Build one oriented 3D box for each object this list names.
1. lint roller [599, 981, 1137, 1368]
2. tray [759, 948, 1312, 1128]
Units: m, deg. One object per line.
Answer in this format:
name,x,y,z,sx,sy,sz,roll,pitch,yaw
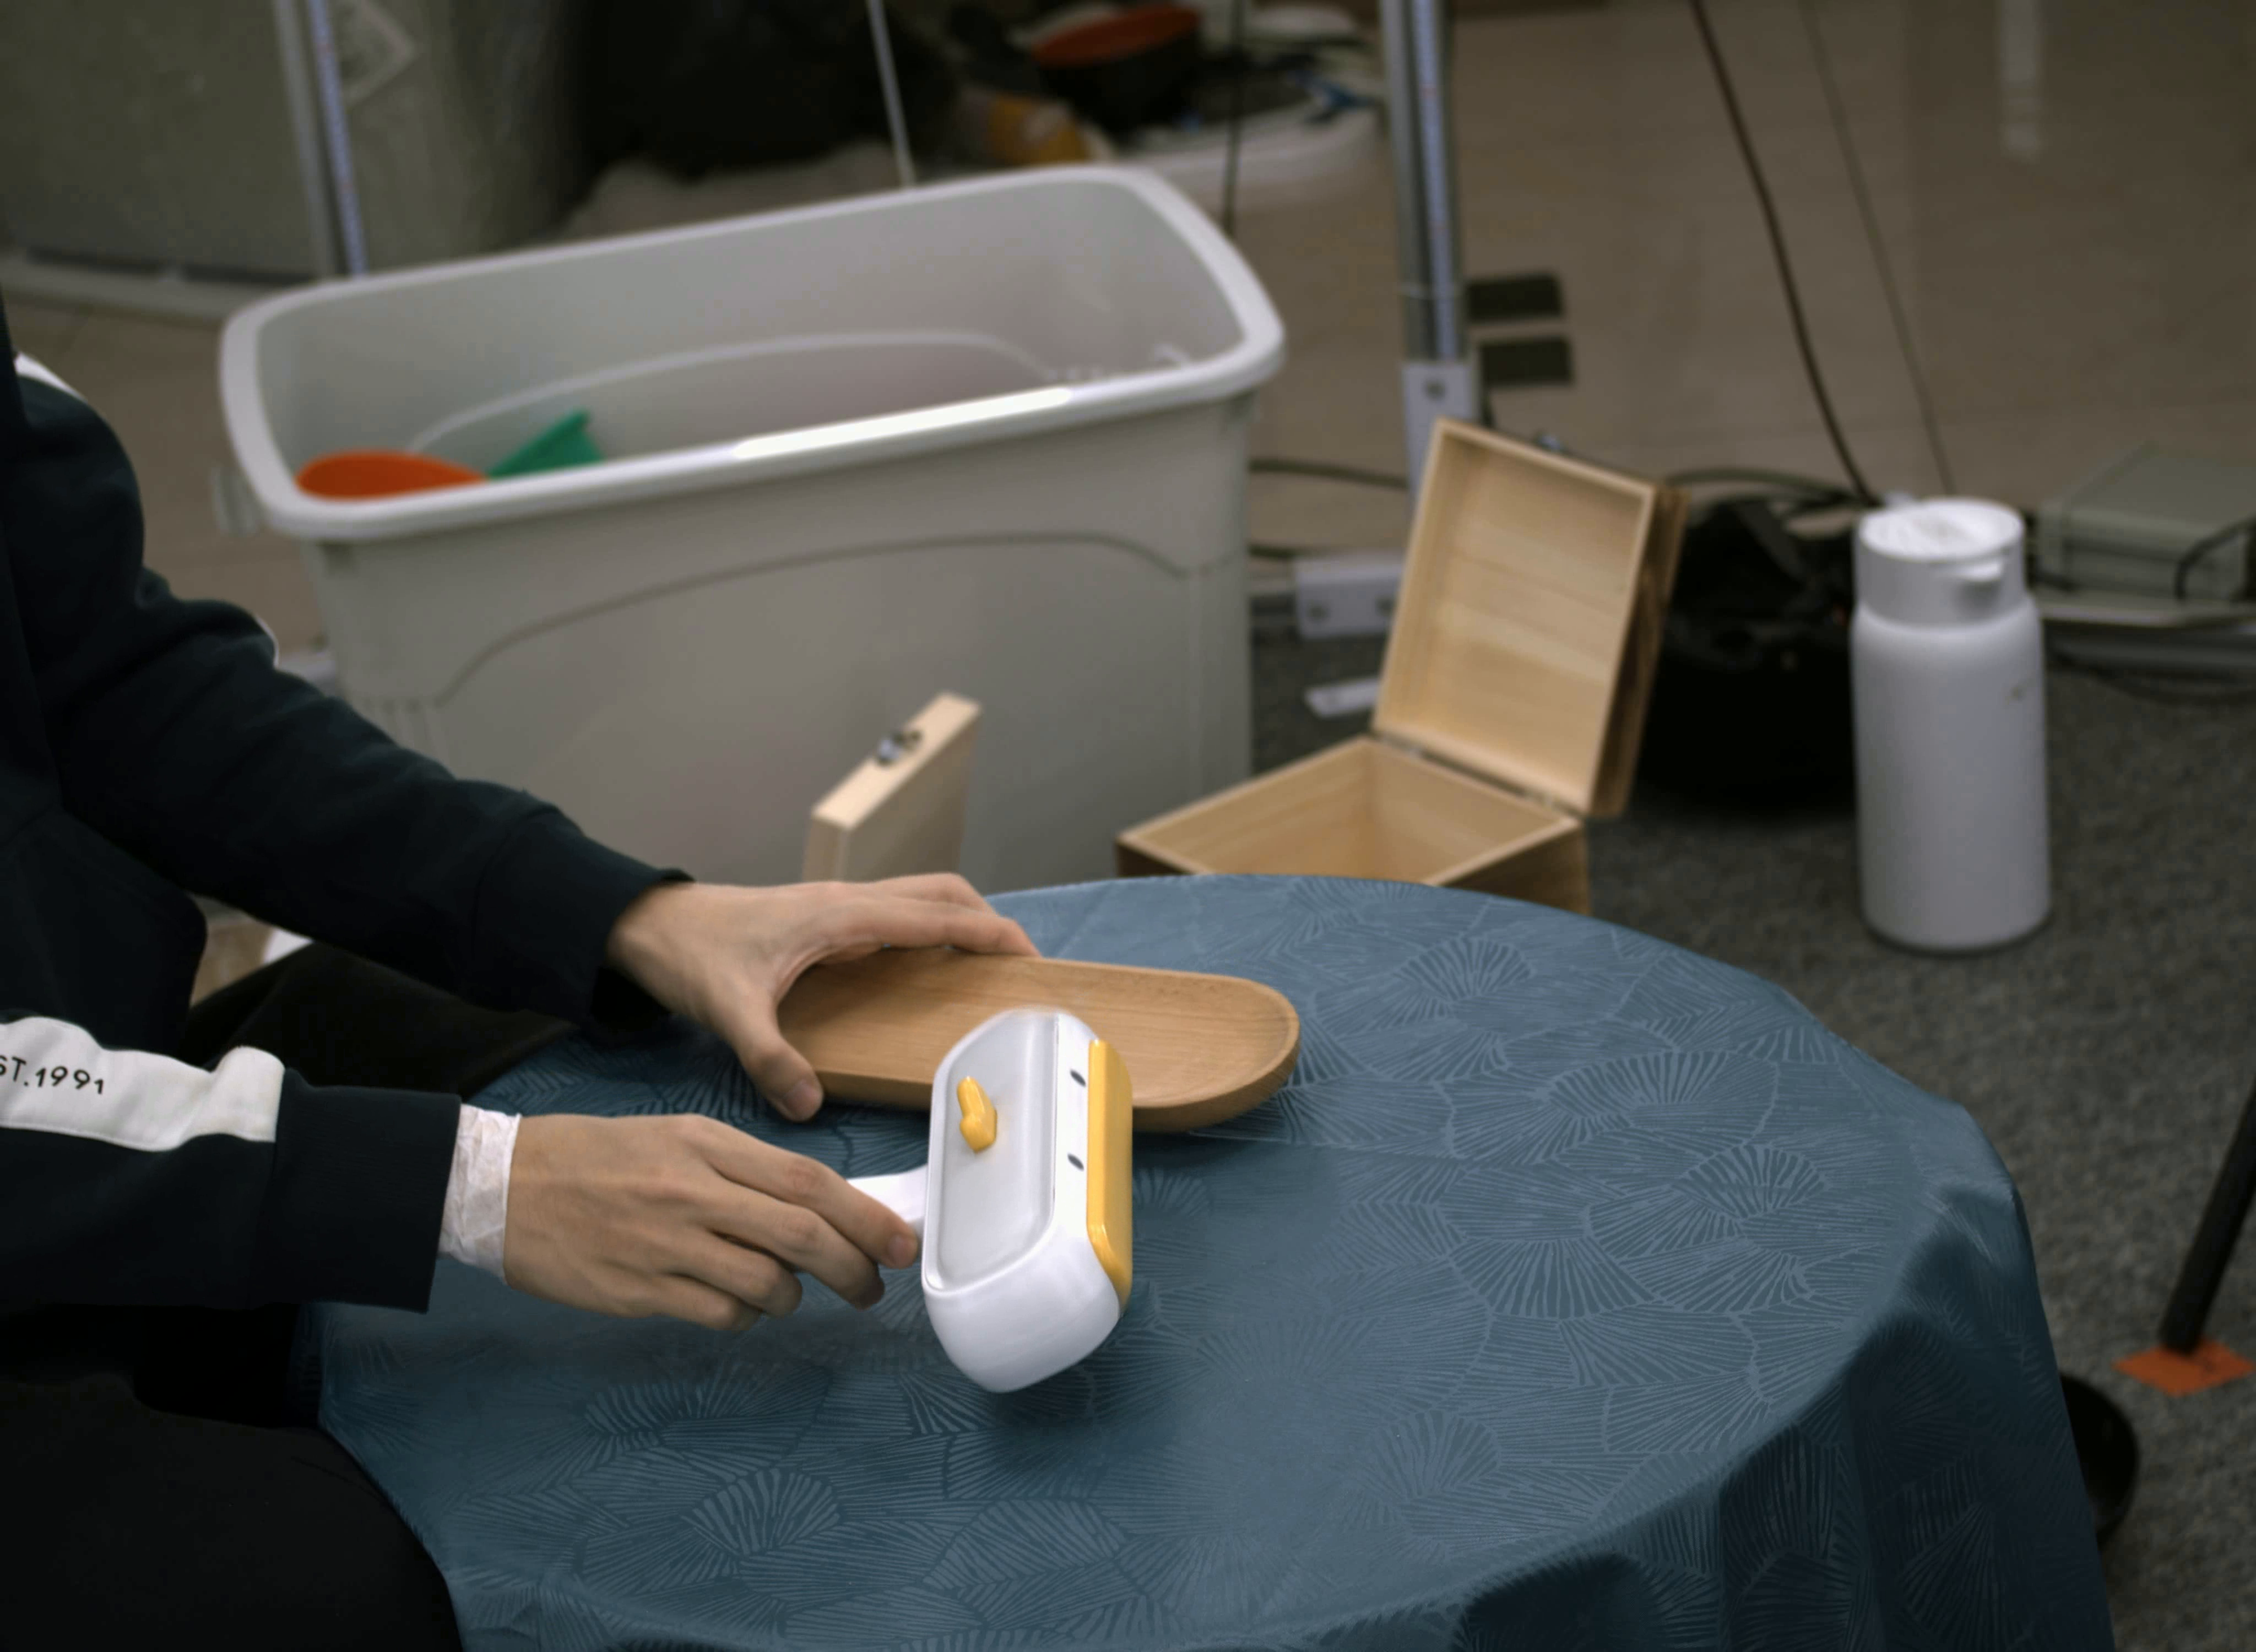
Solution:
lint roller,-0.095,0.139,2.055,0.192,0.075,0.189,-20,33,7
tray,-0.037,0.083,2.226,0.230,0.020,0.100,5,32,24
